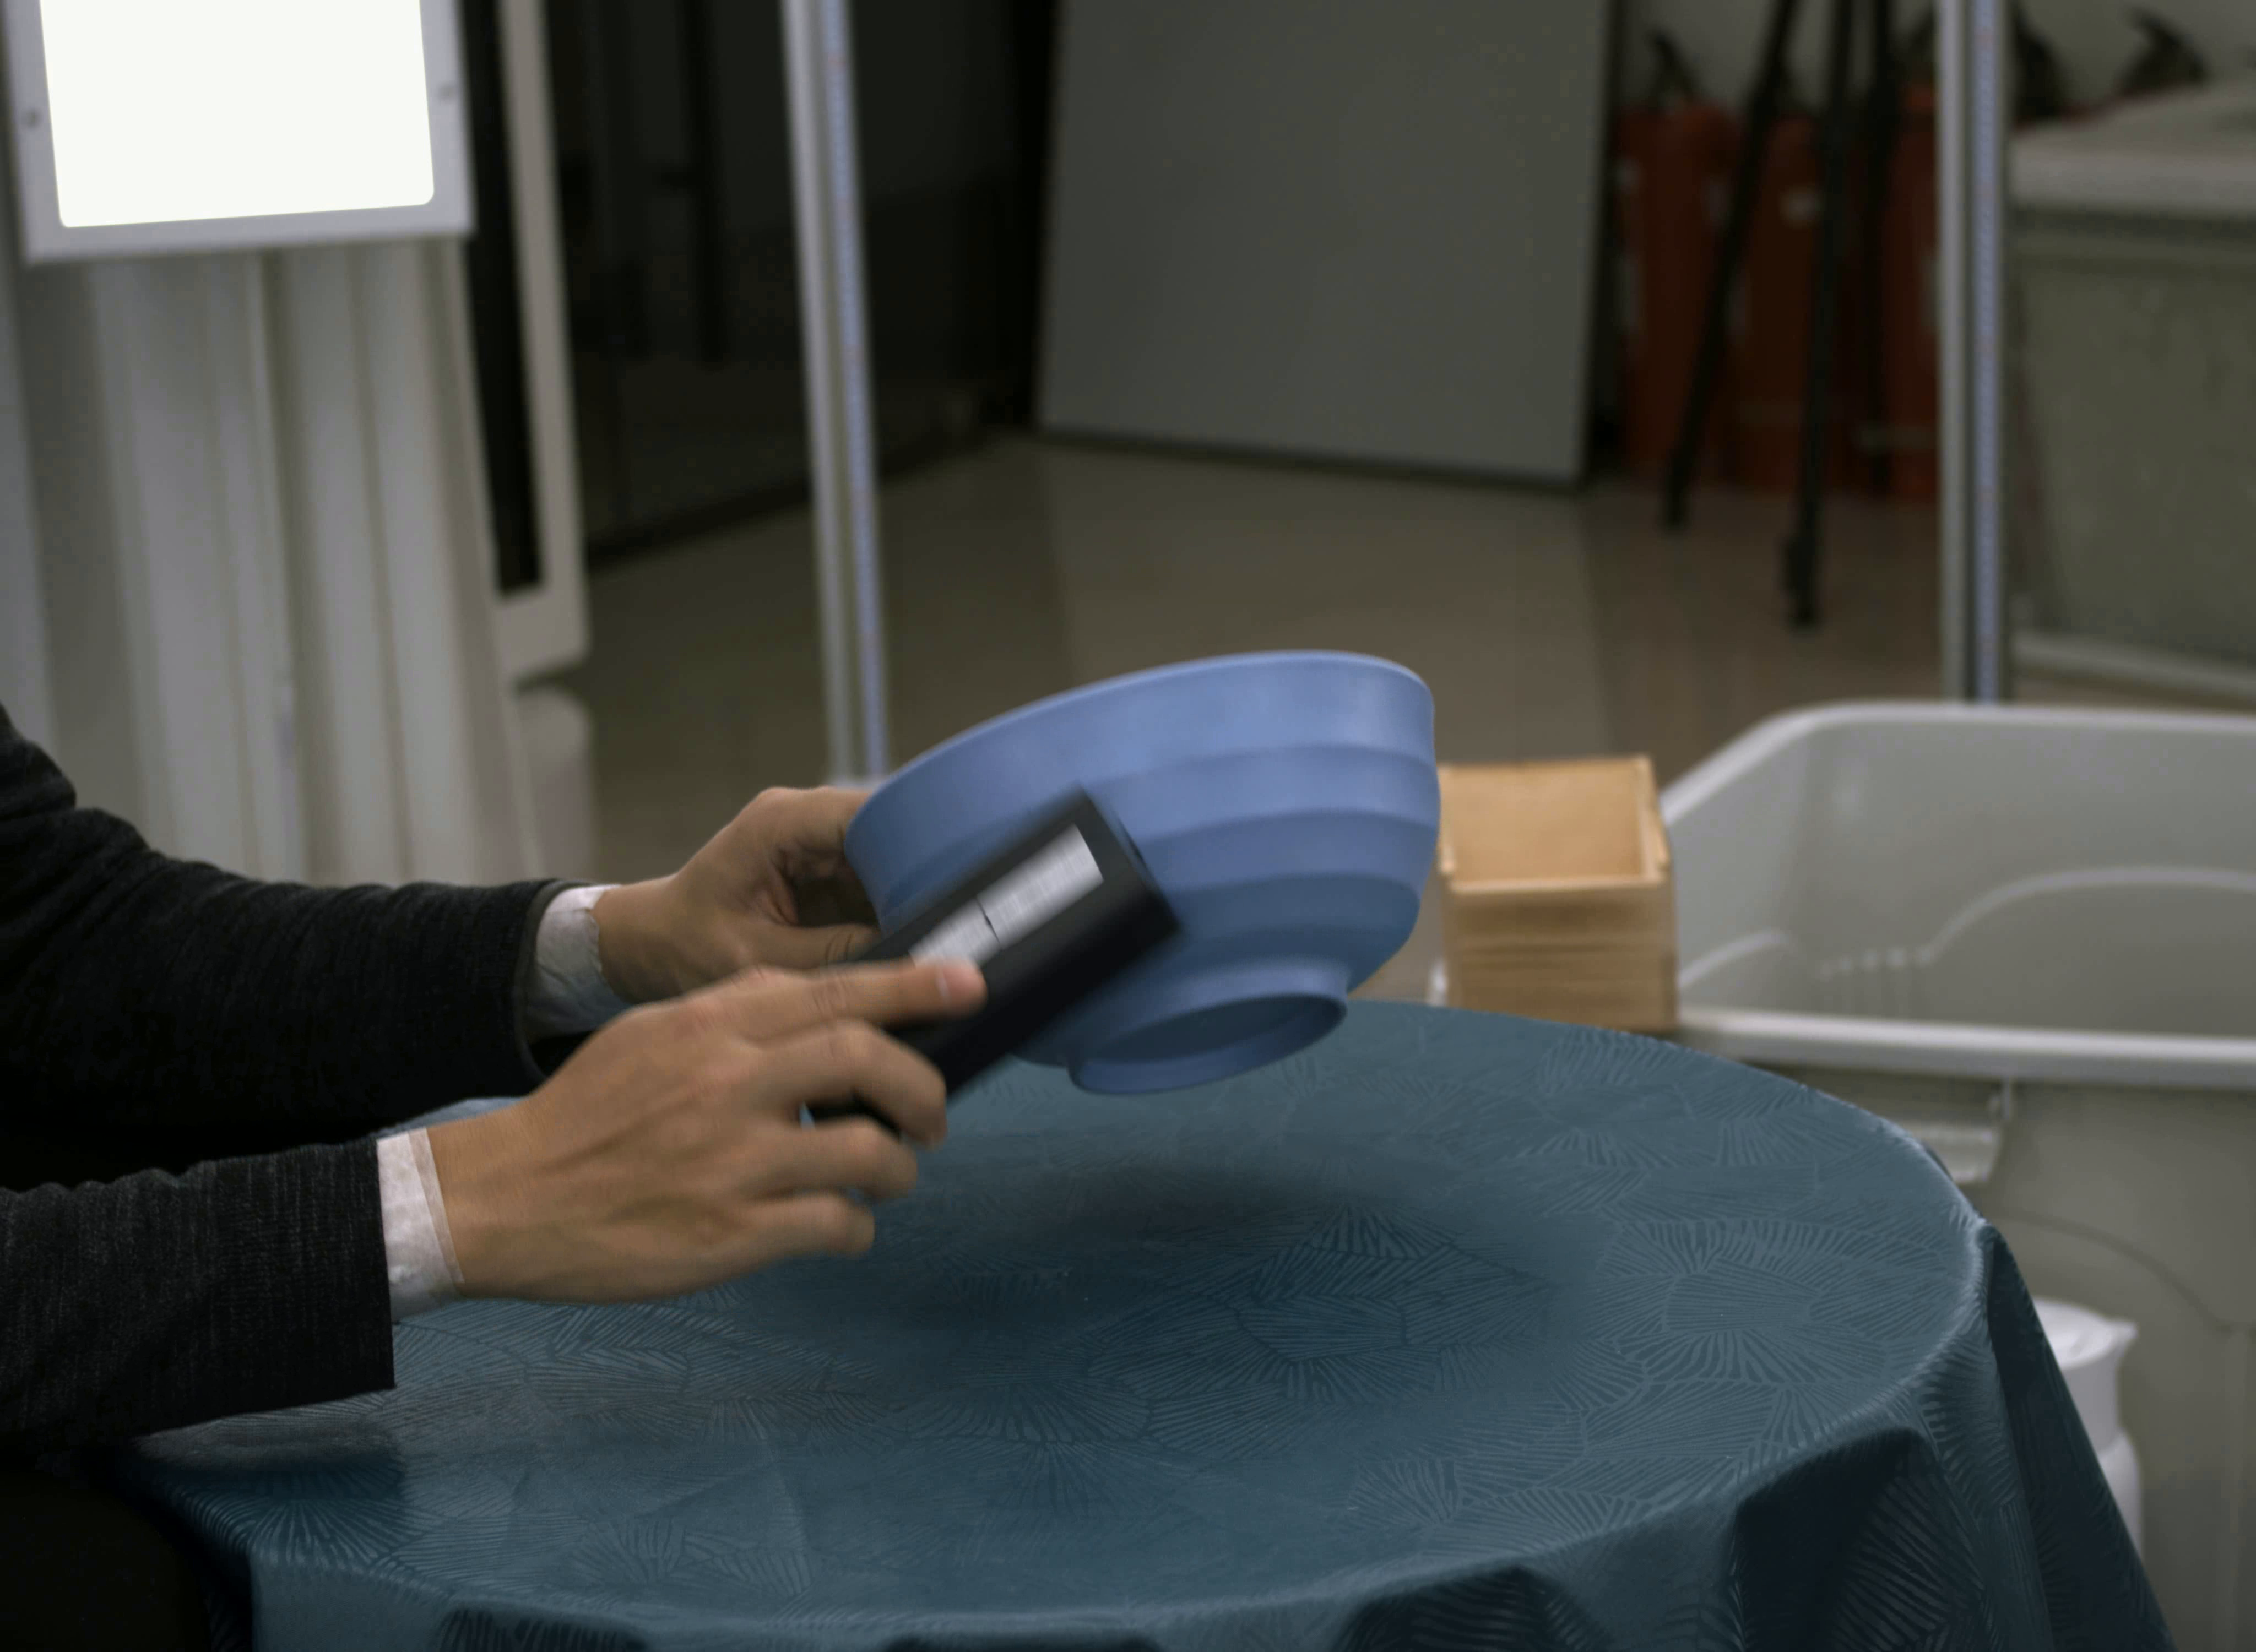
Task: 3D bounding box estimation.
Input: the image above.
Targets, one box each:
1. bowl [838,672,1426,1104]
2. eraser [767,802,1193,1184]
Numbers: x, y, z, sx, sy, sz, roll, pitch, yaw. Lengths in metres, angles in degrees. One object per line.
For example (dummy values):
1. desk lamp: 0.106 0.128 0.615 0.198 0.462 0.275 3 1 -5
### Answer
1. bowl: 0.013 0.029 1.721 0.194 0.096 0.196 -15 -12 -4
2. eraser: -0.043 0.048 1.575 0.125 0.030 0.054 -36 45 2
